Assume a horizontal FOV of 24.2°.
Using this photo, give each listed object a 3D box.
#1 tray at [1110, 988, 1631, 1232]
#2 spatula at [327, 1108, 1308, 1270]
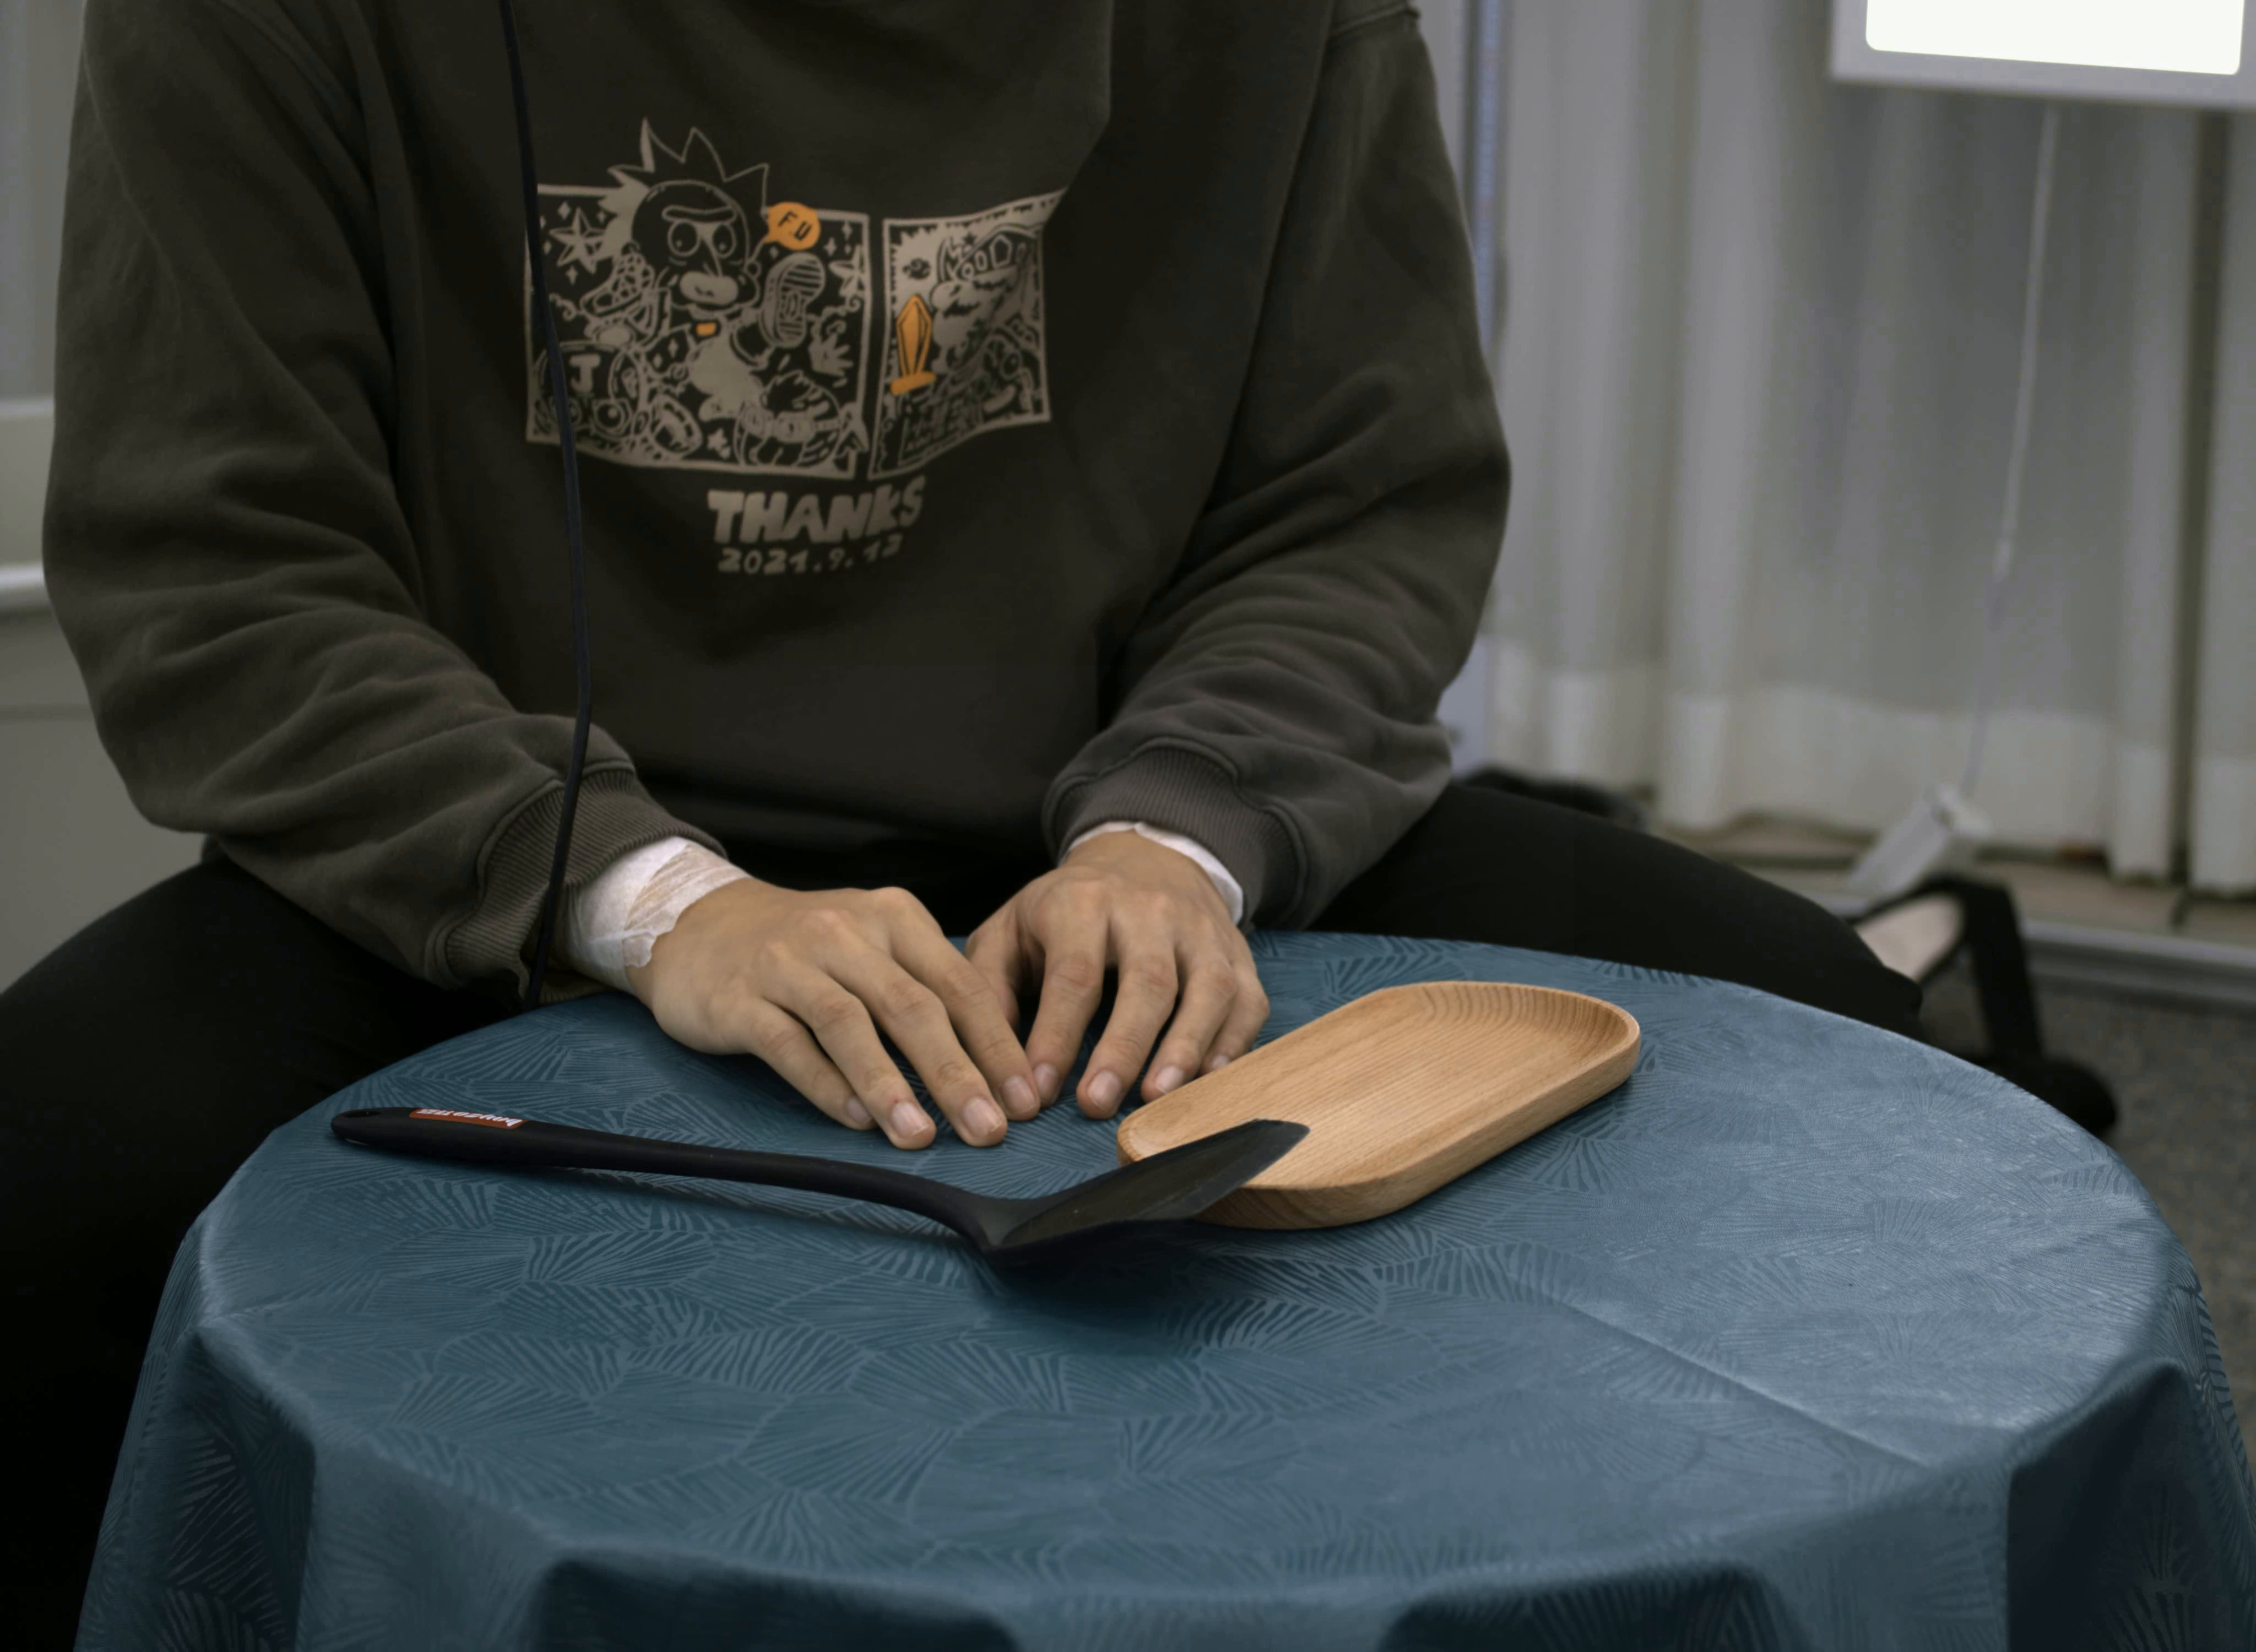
[{"bbox_3d":[0.080,0.089,1.688,0.100,0.020,0.232,10,19,31],"label":"tray"},{"bbox_3d":[-0.107,0.099,1.605,0.323,0.040,0.100,8,16,23],"label":"spatula"}]
